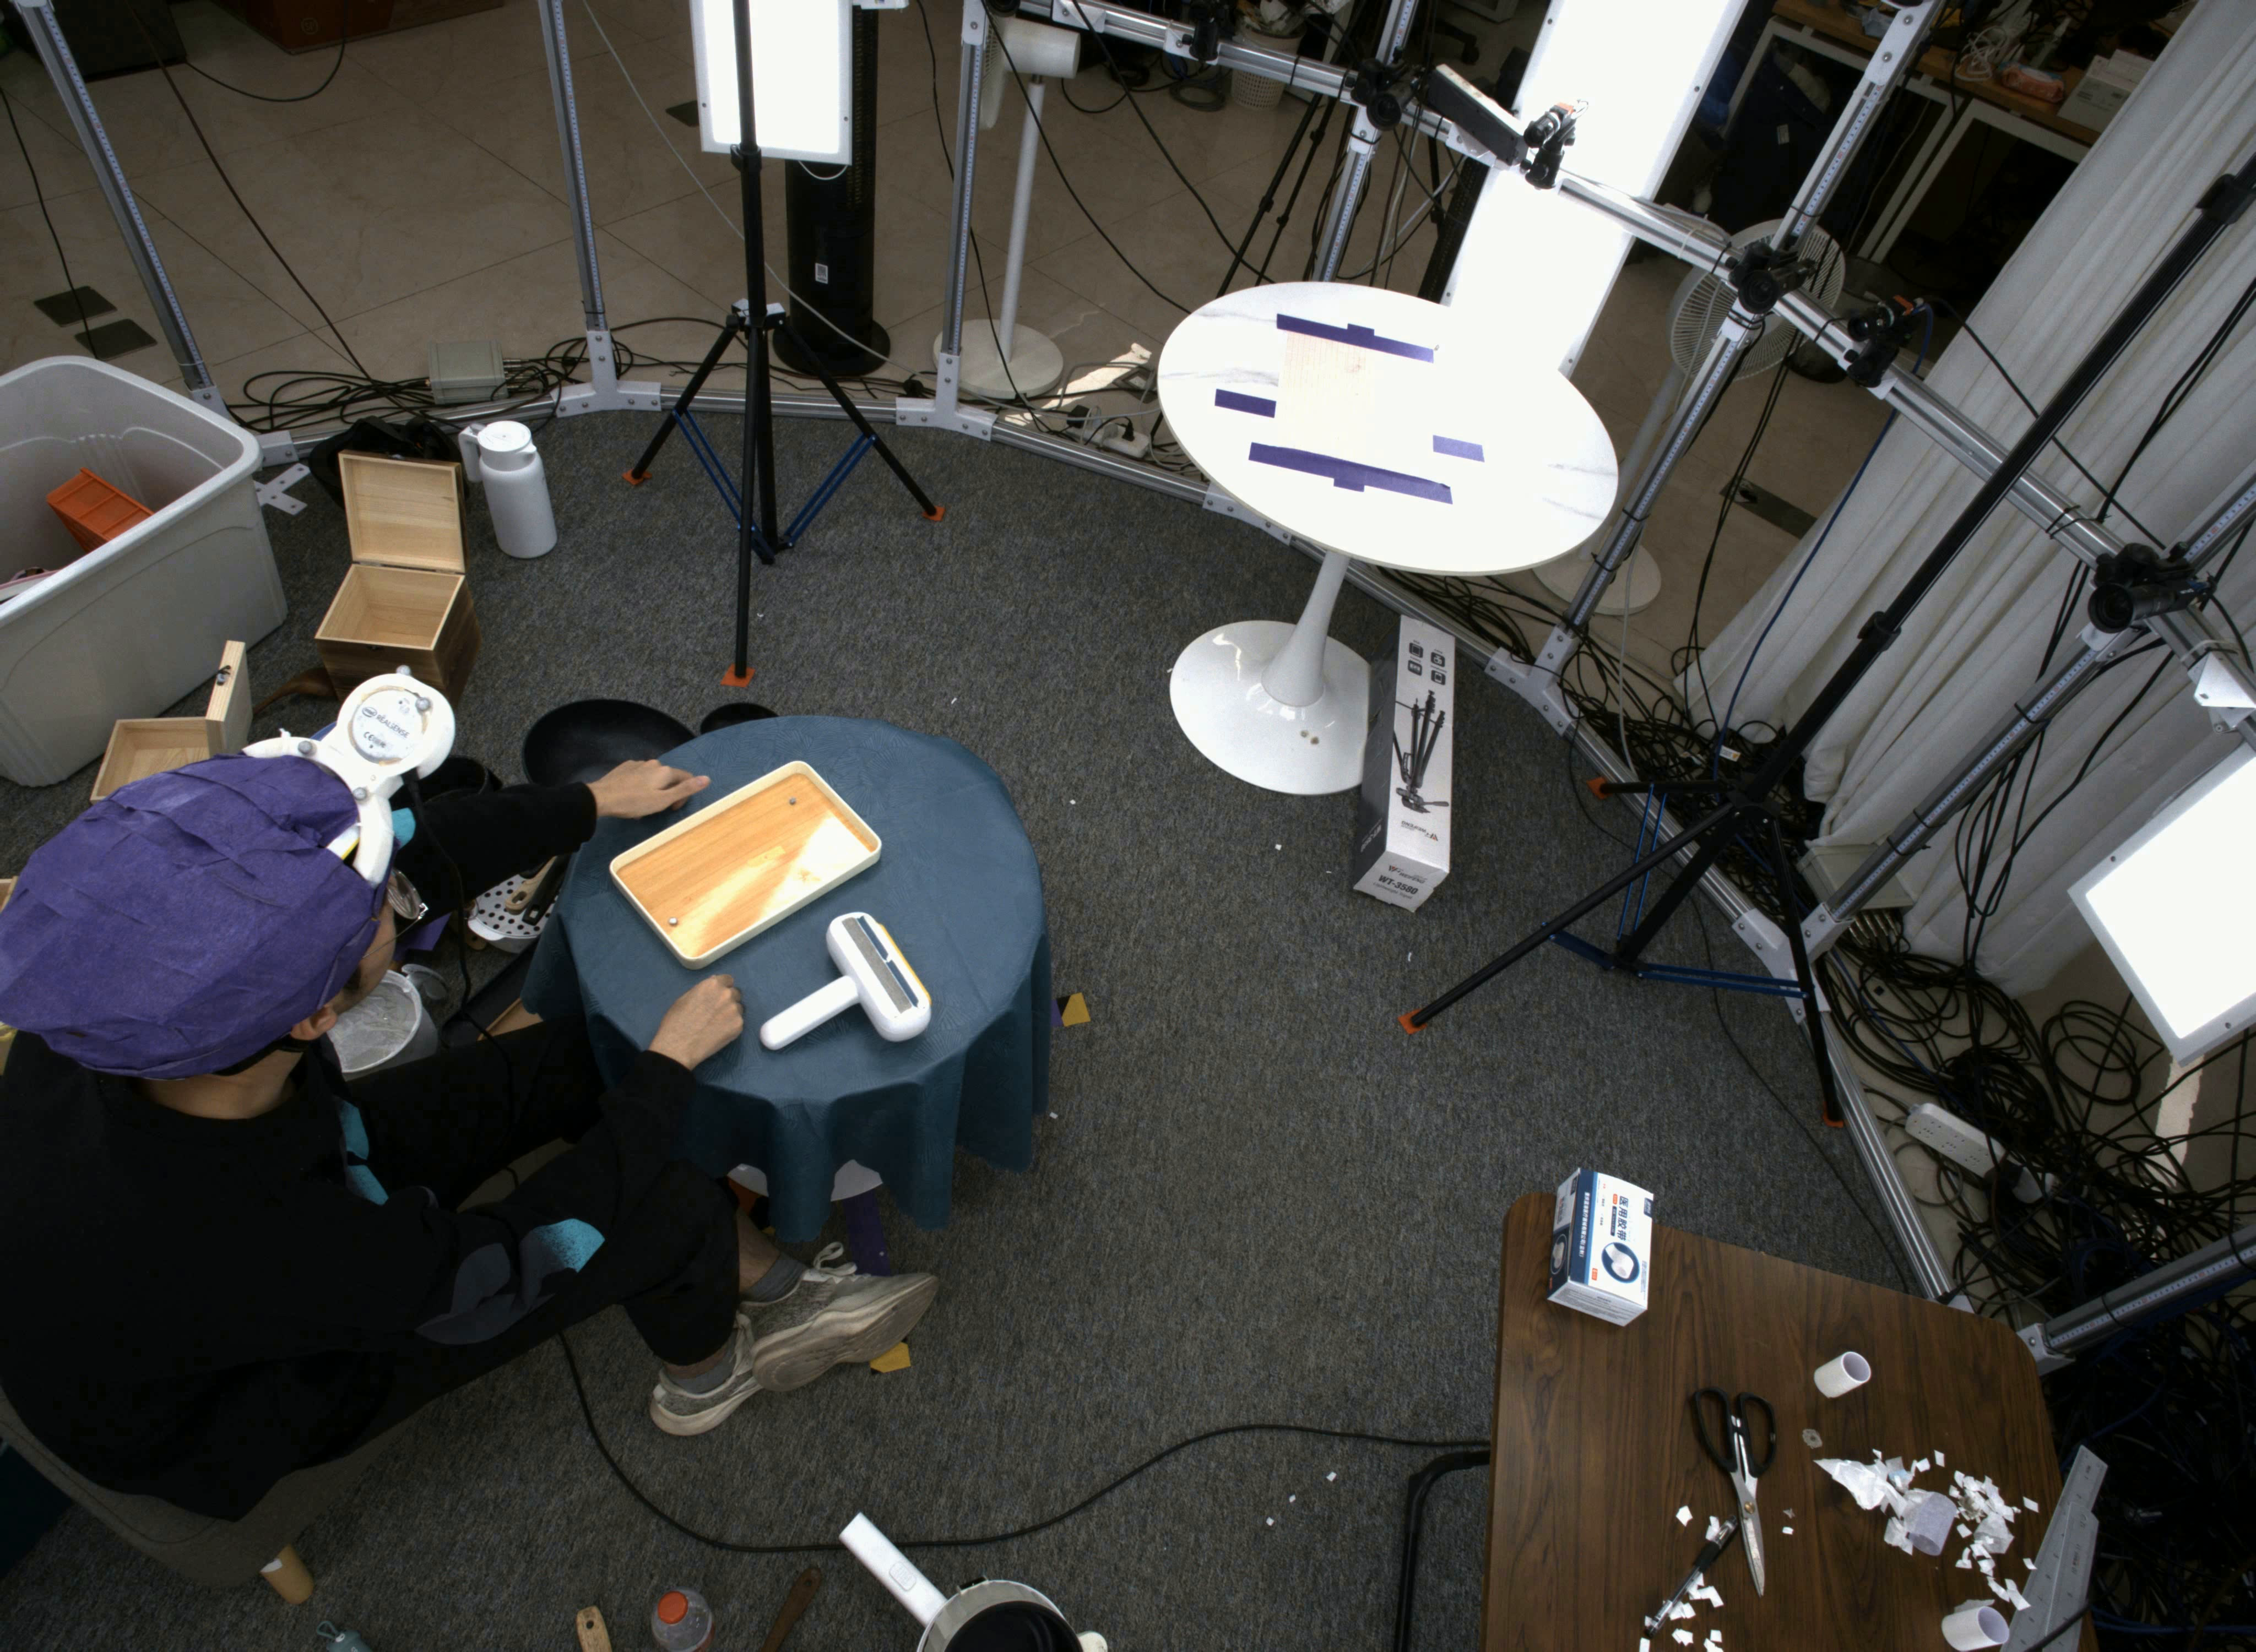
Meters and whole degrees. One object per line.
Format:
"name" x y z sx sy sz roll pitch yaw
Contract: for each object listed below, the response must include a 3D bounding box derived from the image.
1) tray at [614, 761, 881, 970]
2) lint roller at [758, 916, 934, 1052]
"tray" -0.487 0.042 1.664 0.301 0.028 0.187 -34 68 -33
"lint roller" -0.350 0.207 1.553 0.193 0.076 0.187 -20 55 -25
